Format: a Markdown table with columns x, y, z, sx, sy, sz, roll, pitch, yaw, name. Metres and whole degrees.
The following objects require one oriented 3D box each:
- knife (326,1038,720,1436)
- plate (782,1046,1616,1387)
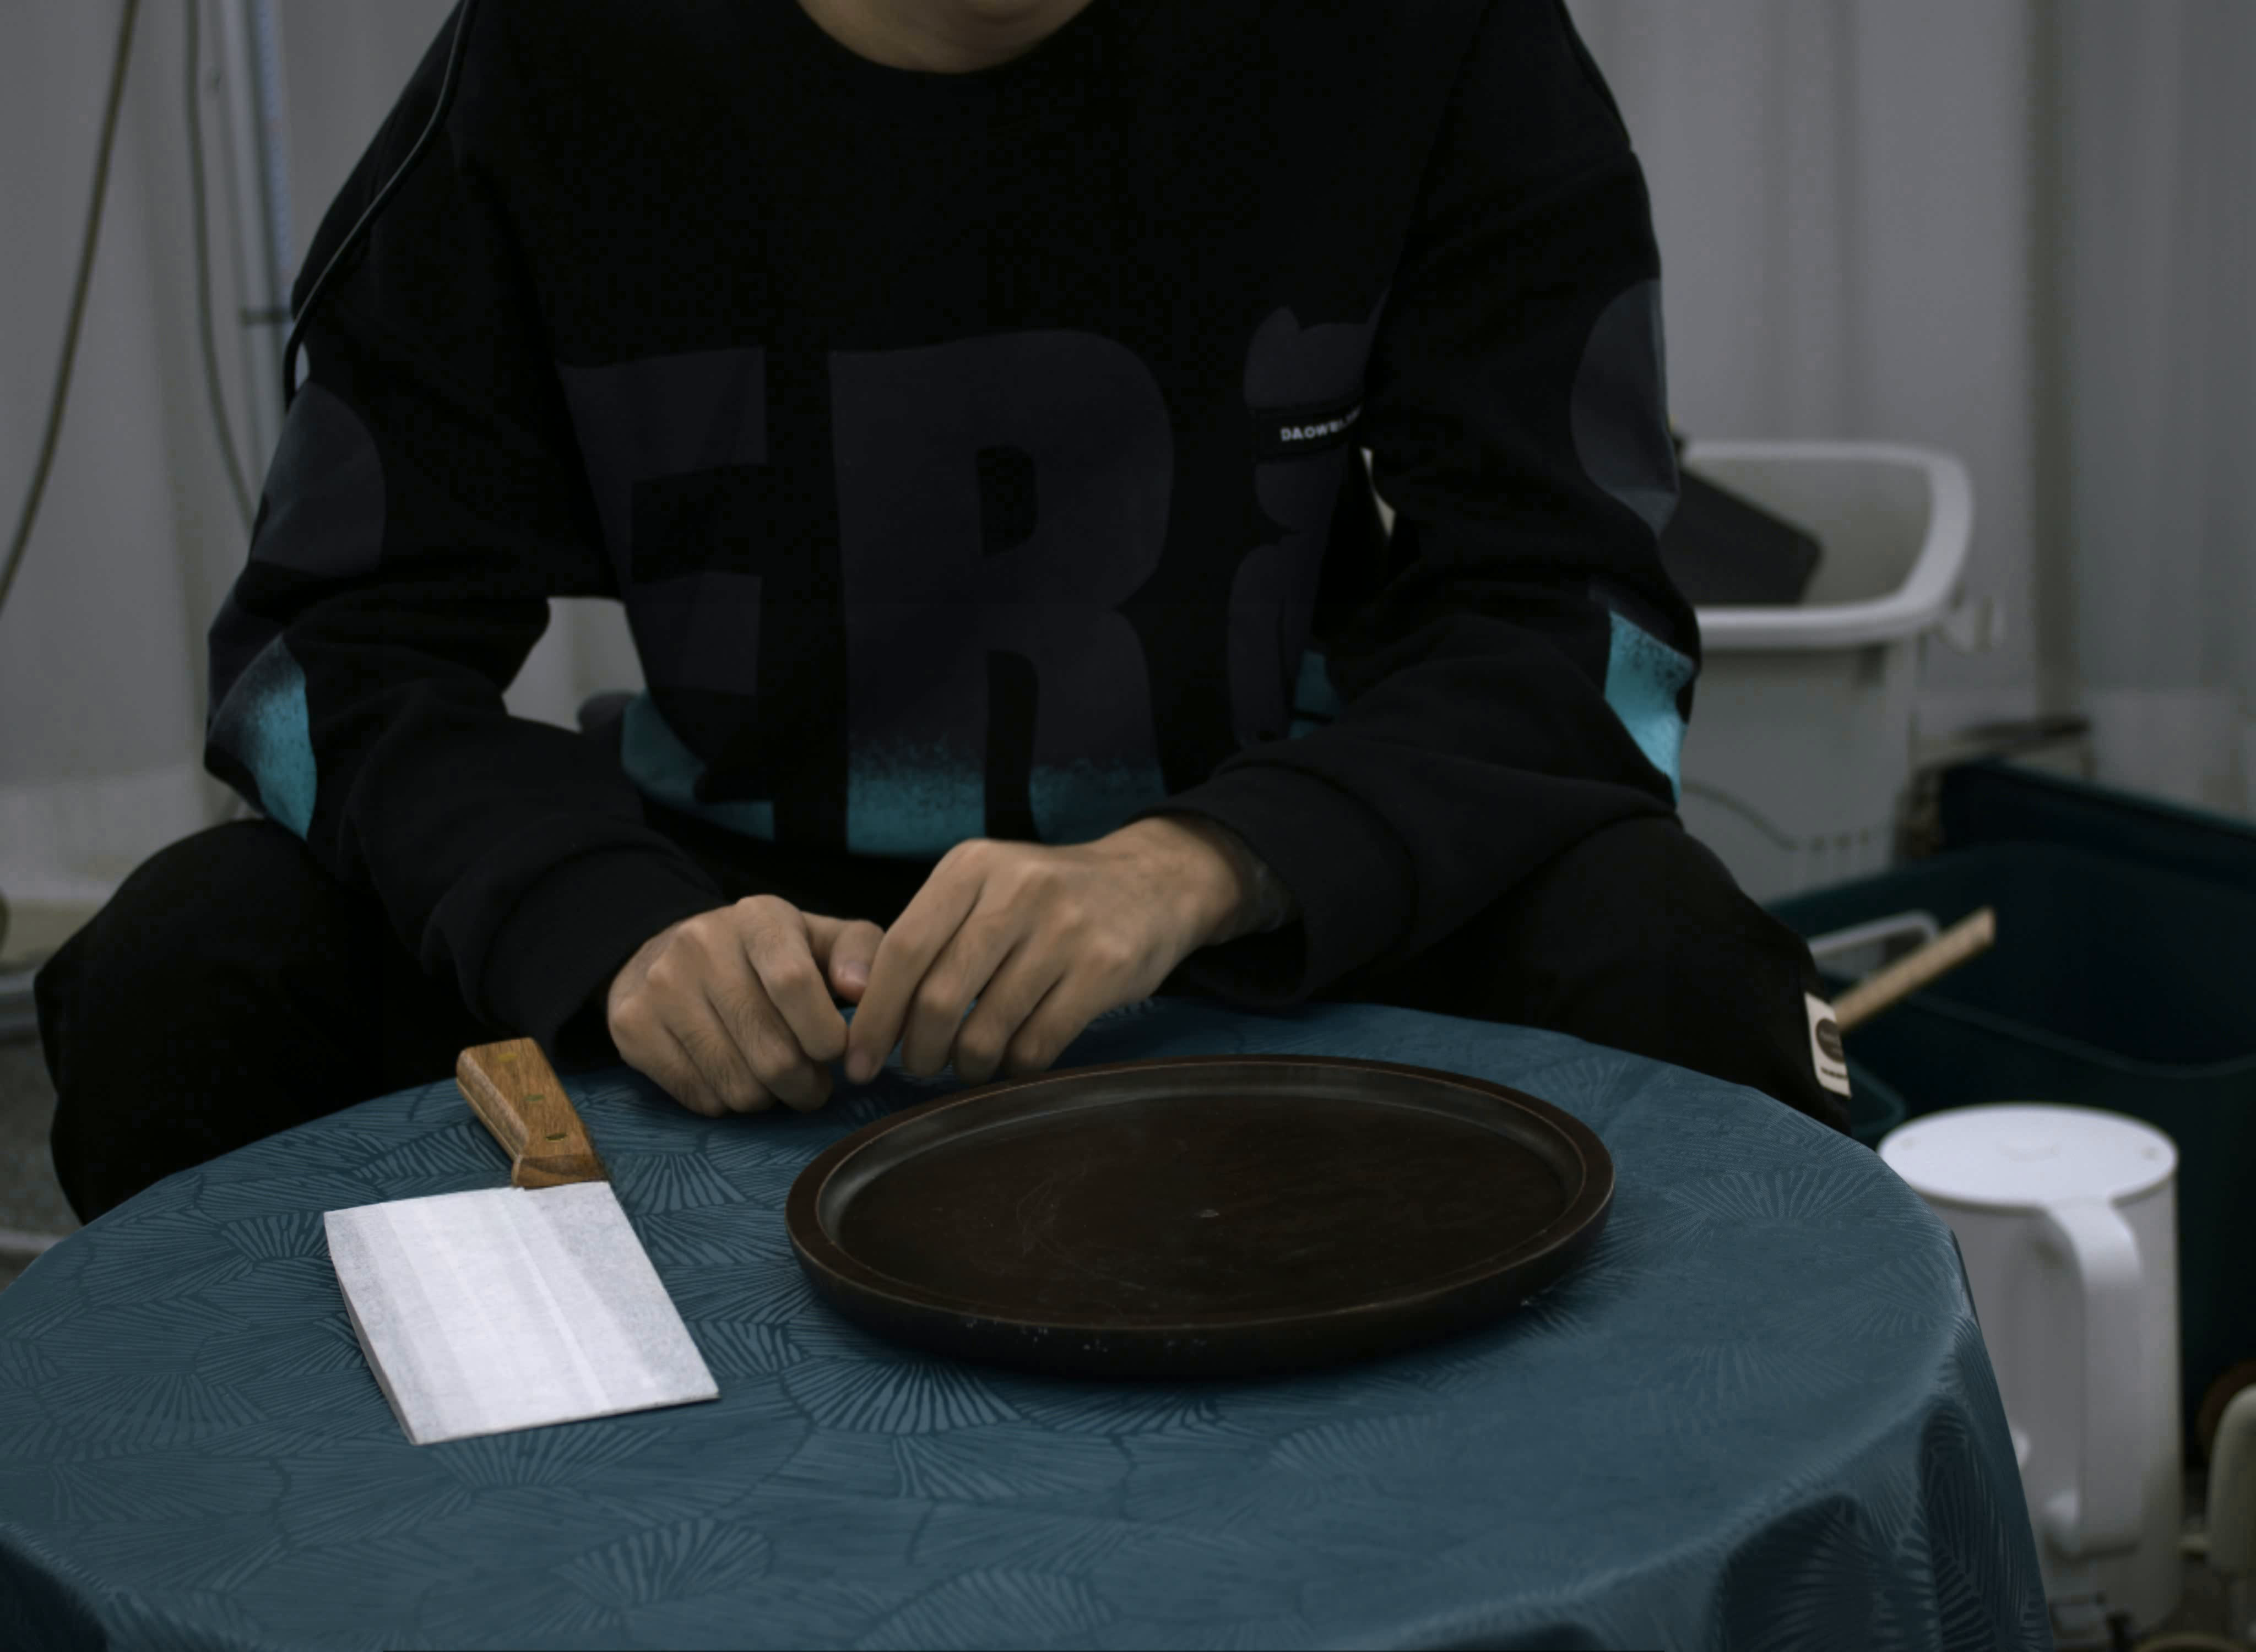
| x | y | z | sx | sy | sz | roll | pitch | yaw | name |
| --- | --- | --- | --- | --- | --- | --- | --- | --- | --- |
| -0.197 | 0.126 | 1.685 | 0.092 | 0.021 | 0.308 | -8 | 18 | -14 | knife |
| 0.021 | 0.117 | 1.655 | 0.254 | 0.029 | 0.256 | -4 | 16 | 1 | plate |
